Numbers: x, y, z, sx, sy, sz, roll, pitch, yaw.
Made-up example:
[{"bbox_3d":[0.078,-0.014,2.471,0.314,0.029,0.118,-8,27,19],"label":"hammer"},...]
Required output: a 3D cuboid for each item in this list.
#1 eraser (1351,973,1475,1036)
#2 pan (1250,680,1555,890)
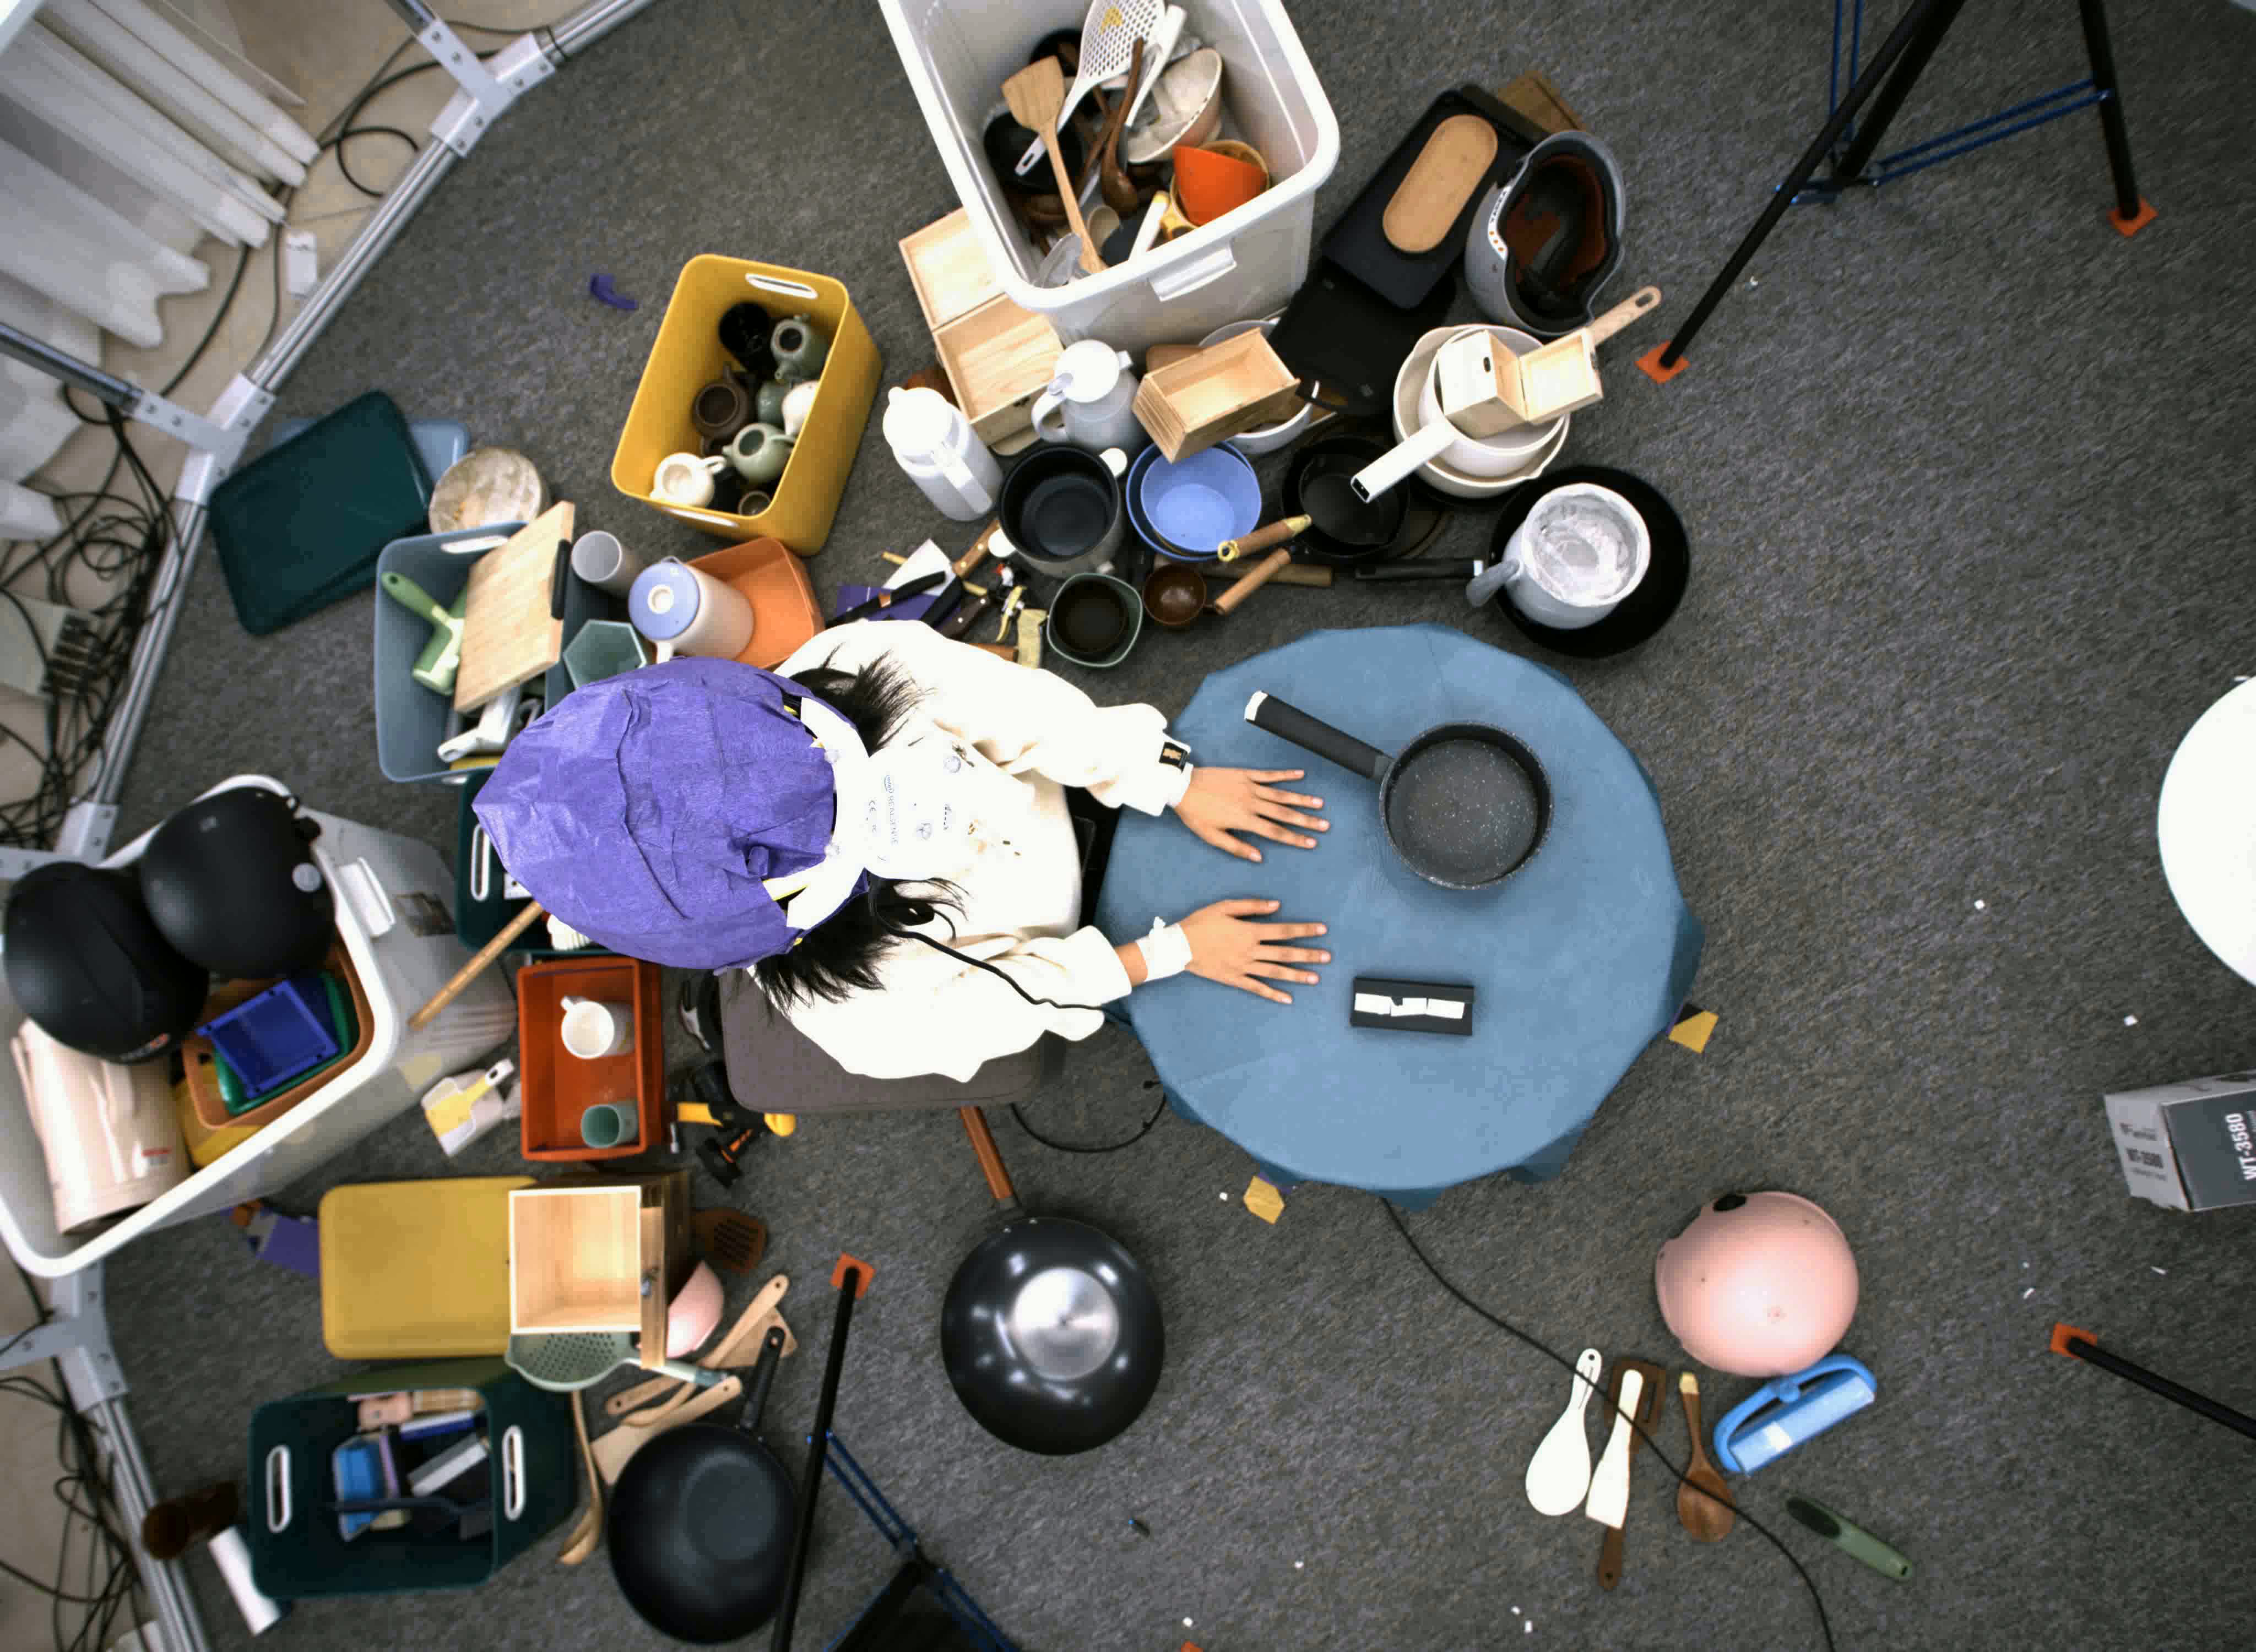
[{"bbox_3d":[0.297,0.184,1.435,0.126,0.030,0.053,4,86,12],"label":"eraser"},{"bbox_3d":[0.276,-0.057,1.424,0.328,0.086,0.172,29,91,9],"label":"pan"}]
